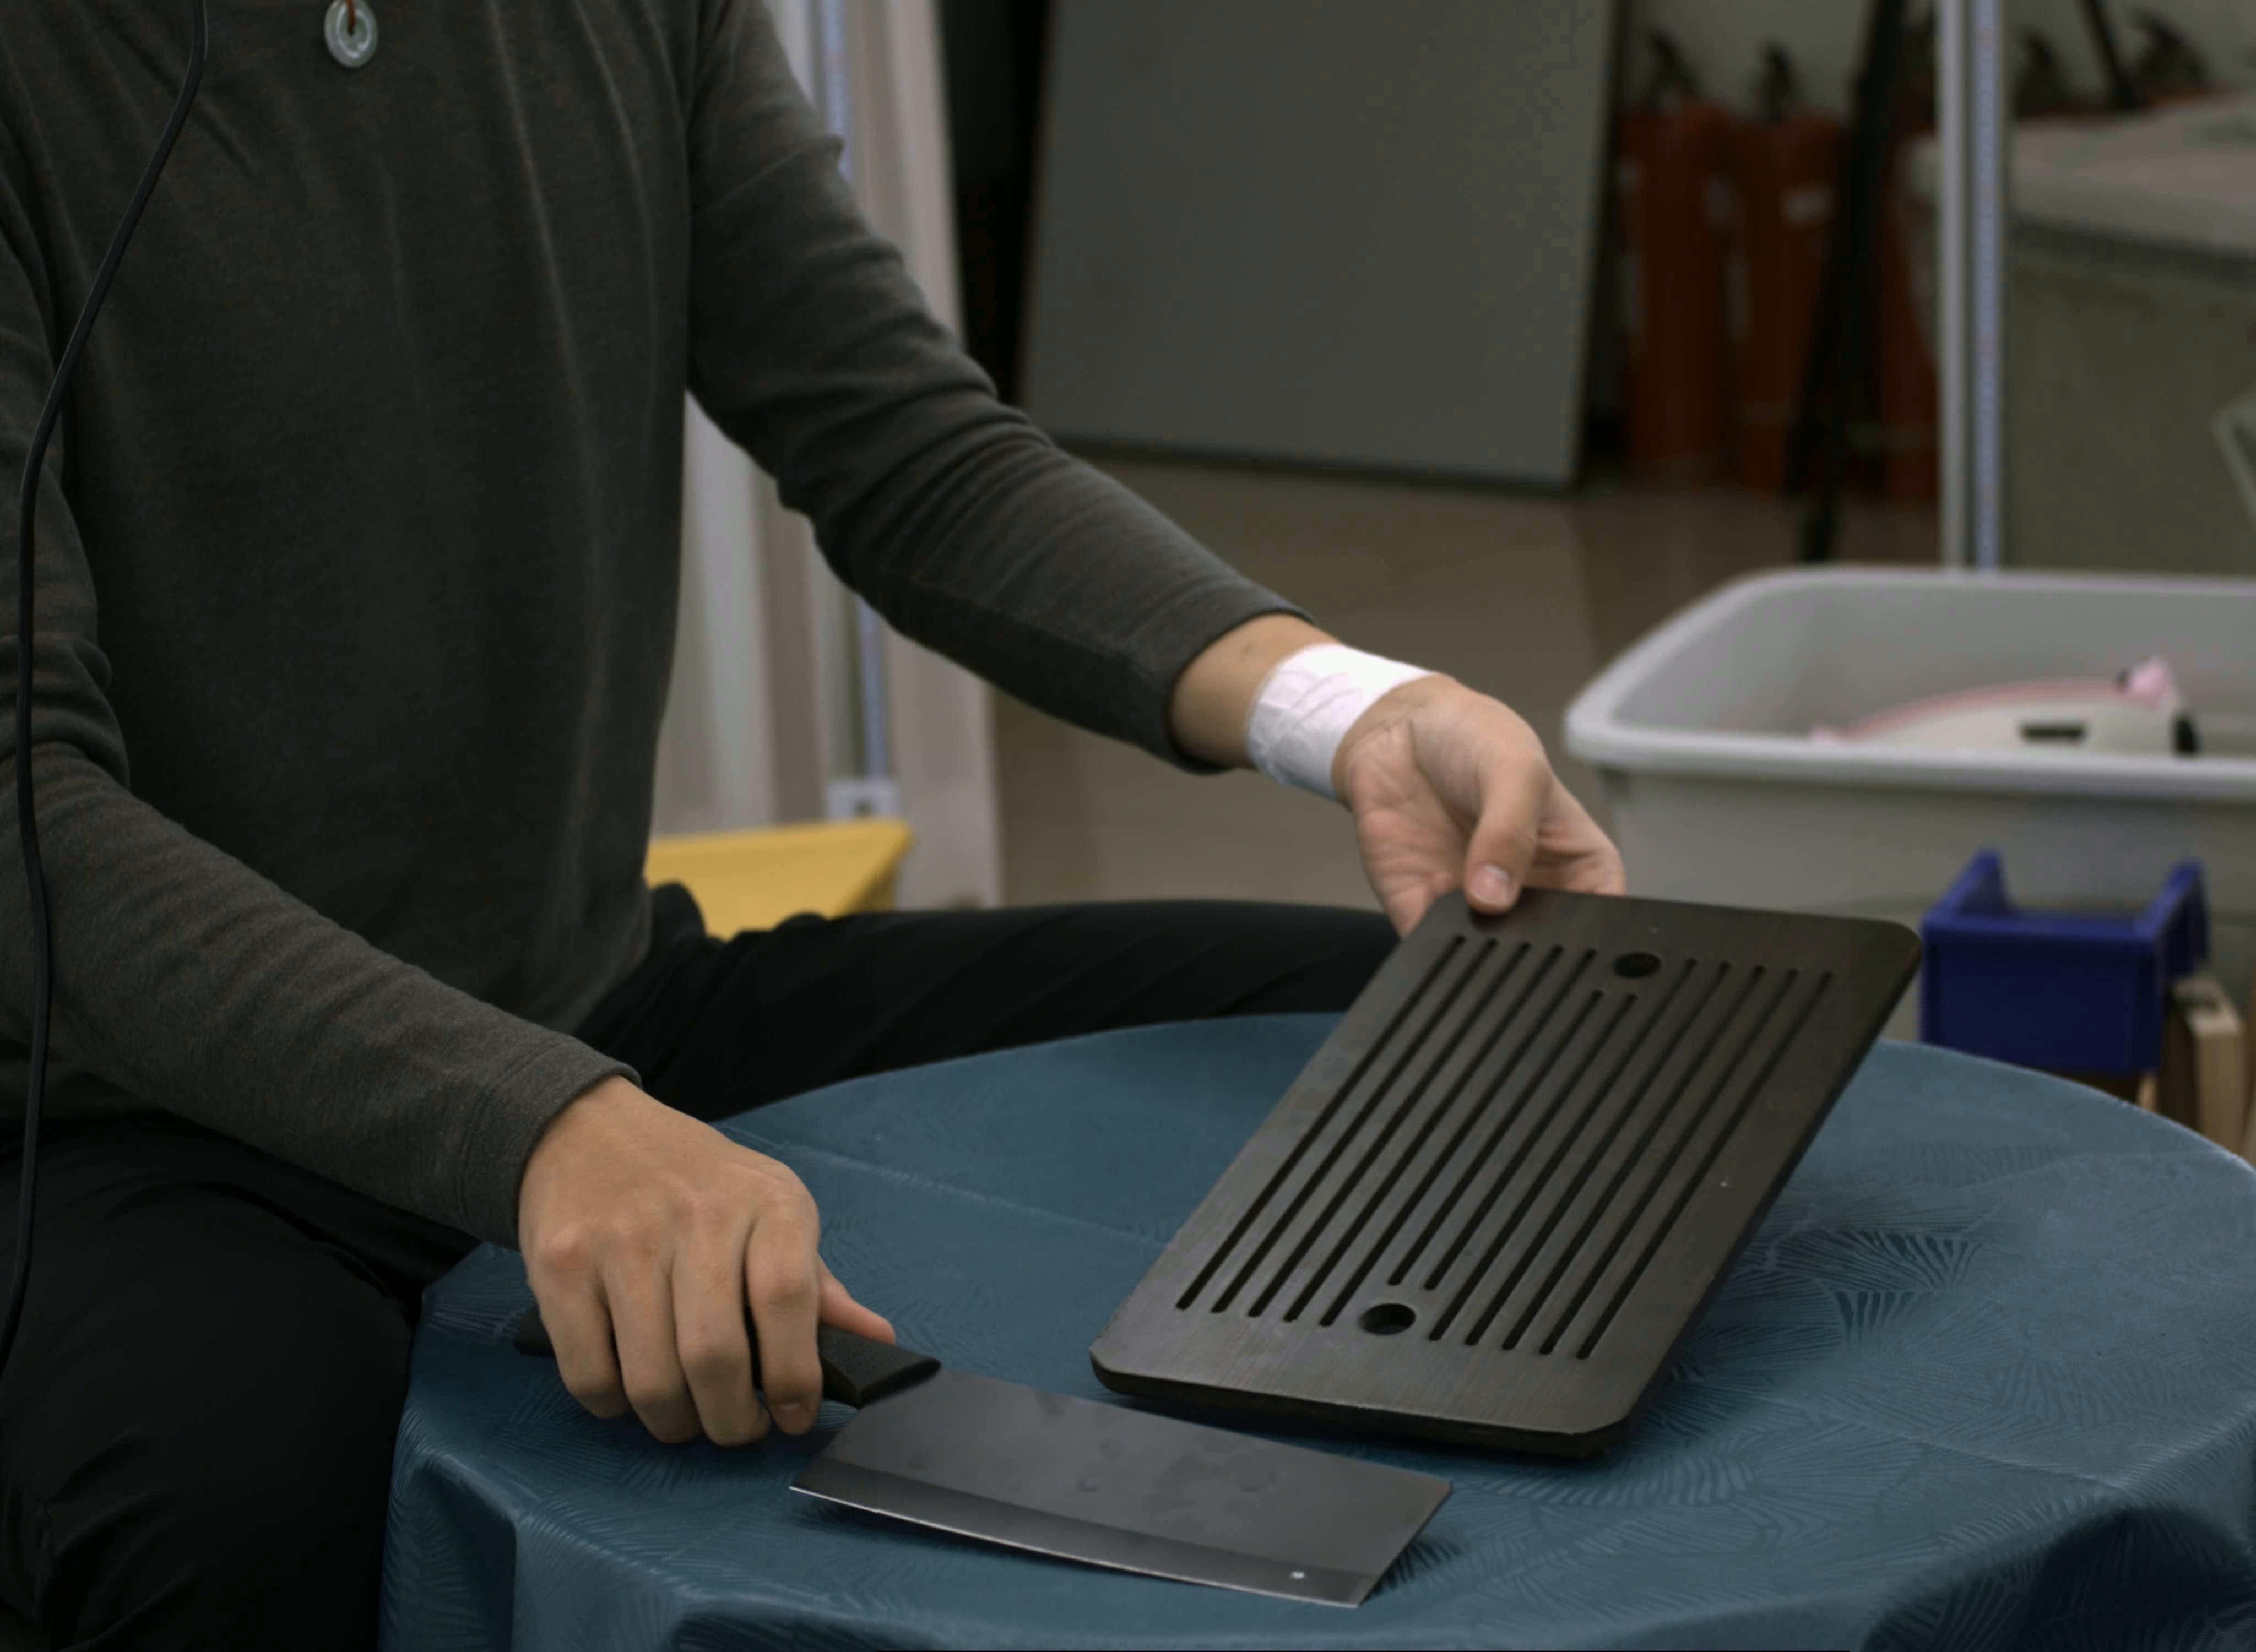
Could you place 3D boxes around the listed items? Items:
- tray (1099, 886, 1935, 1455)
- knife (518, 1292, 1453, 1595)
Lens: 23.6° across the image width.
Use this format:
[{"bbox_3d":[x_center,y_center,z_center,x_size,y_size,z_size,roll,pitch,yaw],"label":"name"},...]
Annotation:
[{"bbox_3d":[0.126,0.101,1.645,0.170,0.019,0.303,4,29,27],"label":"tray"},{"bbox_3d":[-0.050,0.172,1.514,0.304,0.021,0.080,10,31,35],"label":"knife"}]
